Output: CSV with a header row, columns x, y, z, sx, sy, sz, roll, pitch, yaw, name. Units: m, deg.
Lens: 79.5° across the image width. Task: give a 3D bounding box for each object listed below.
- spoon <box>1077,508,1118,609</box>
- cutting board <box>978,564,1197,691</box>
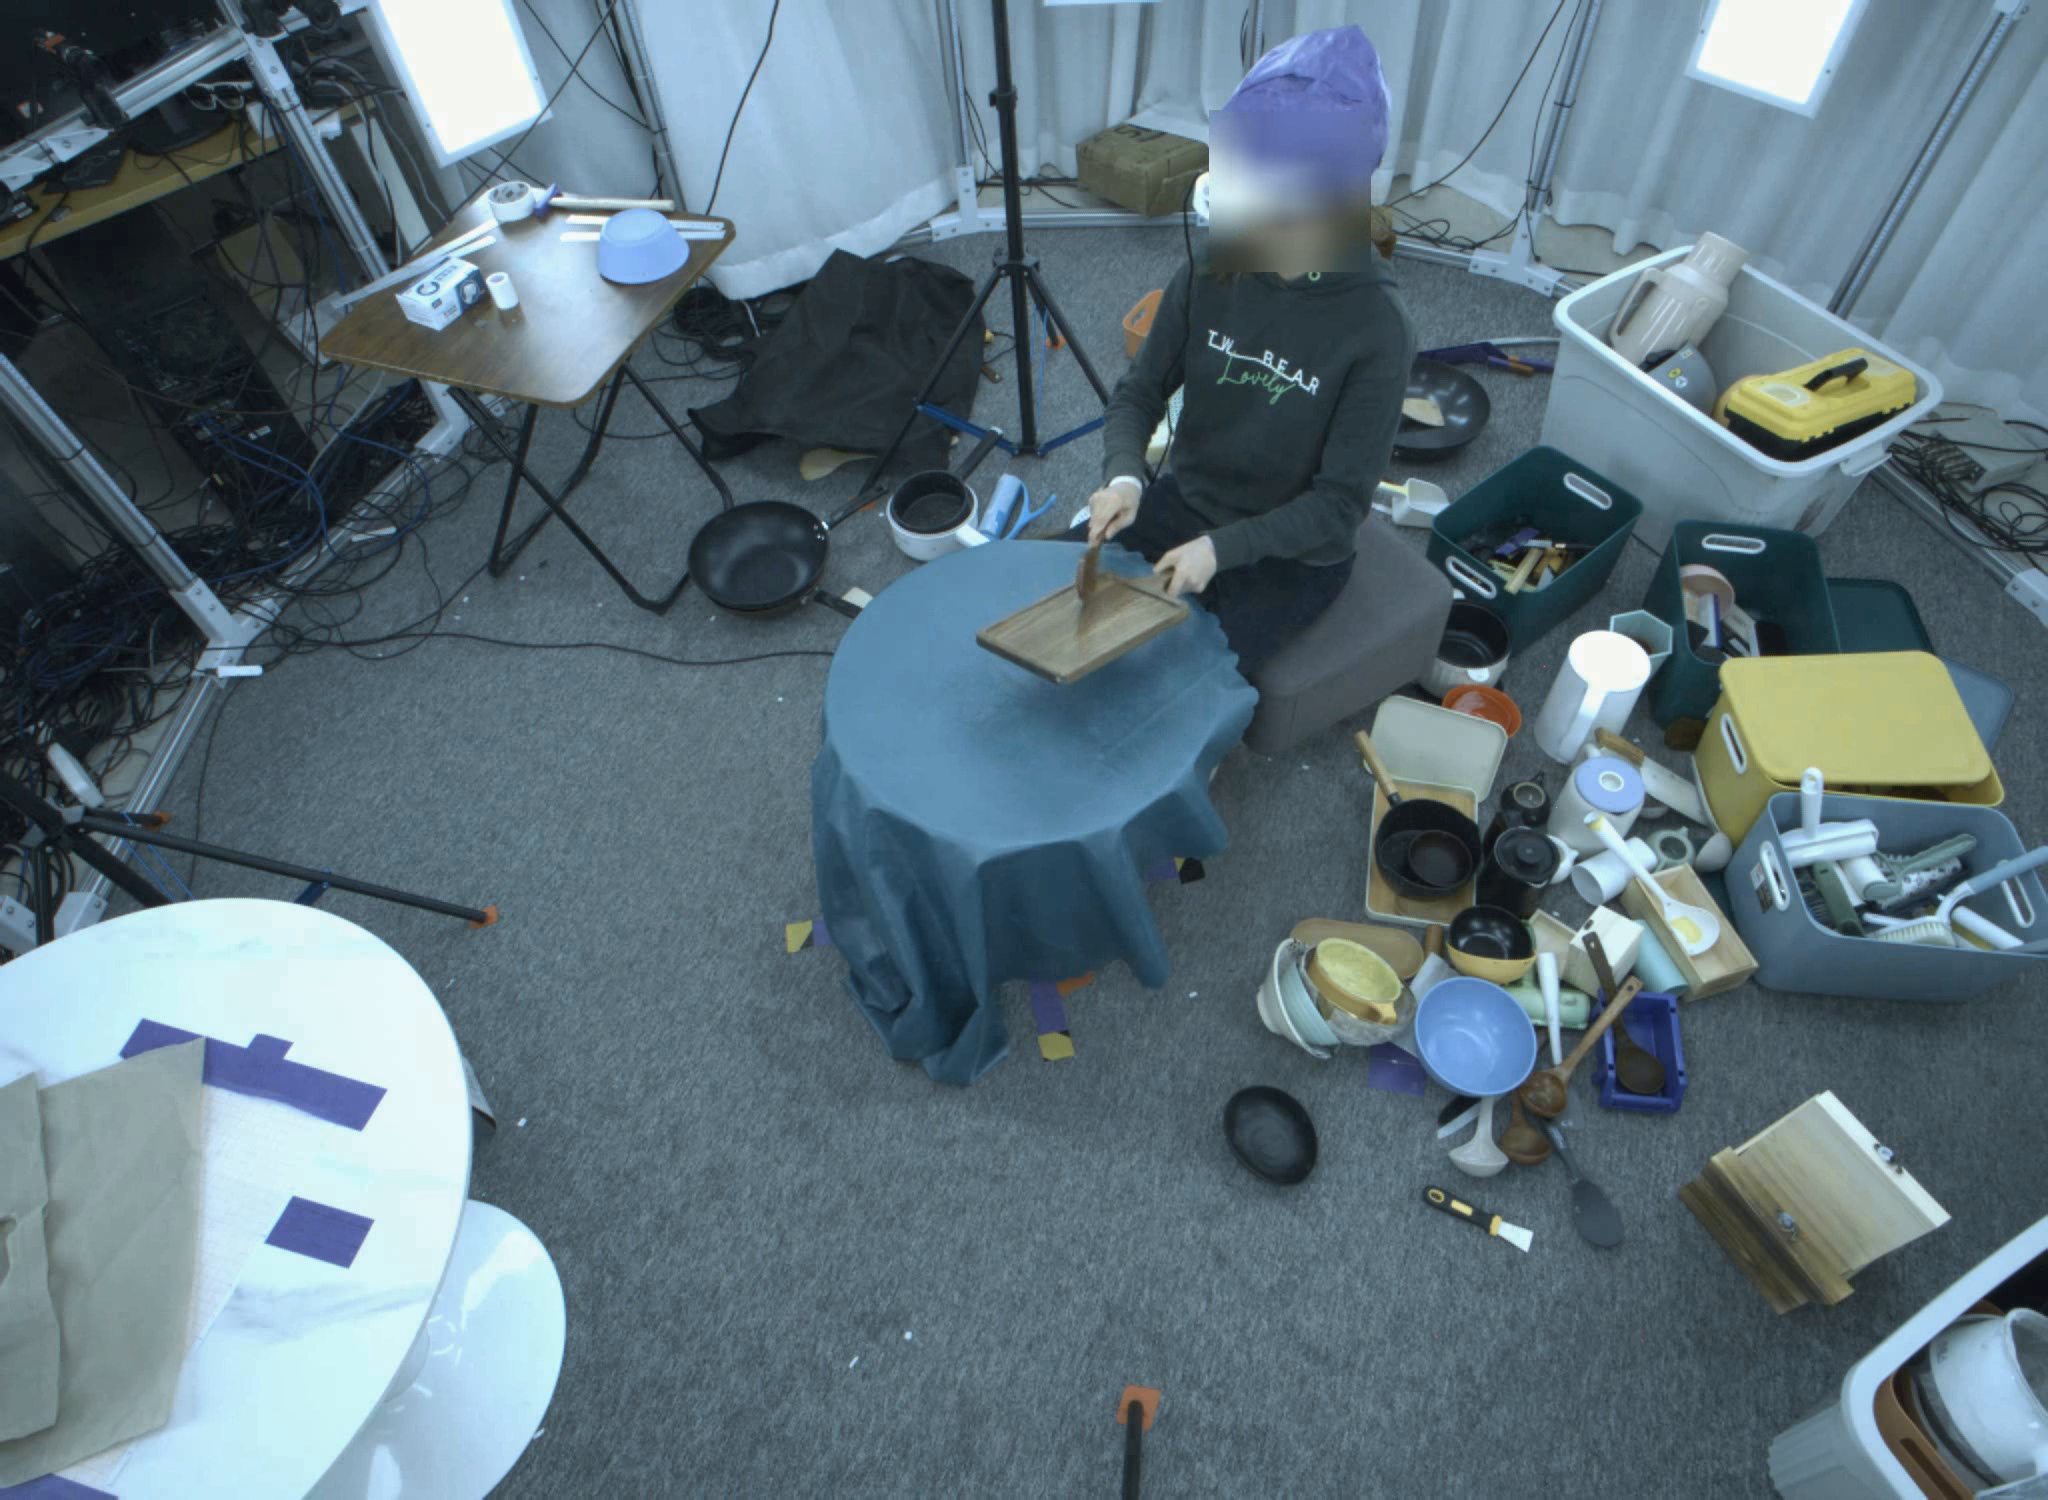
x,y,z,sx,sy,sz,roll,pitch,yaw,name
0.109,-0.292,1.830,0.017,0.077,0.215,3,47,21,spoon
0.124,-0.195,1.786,0.356,0.023,0.196,-30,40,-29,cutting board
